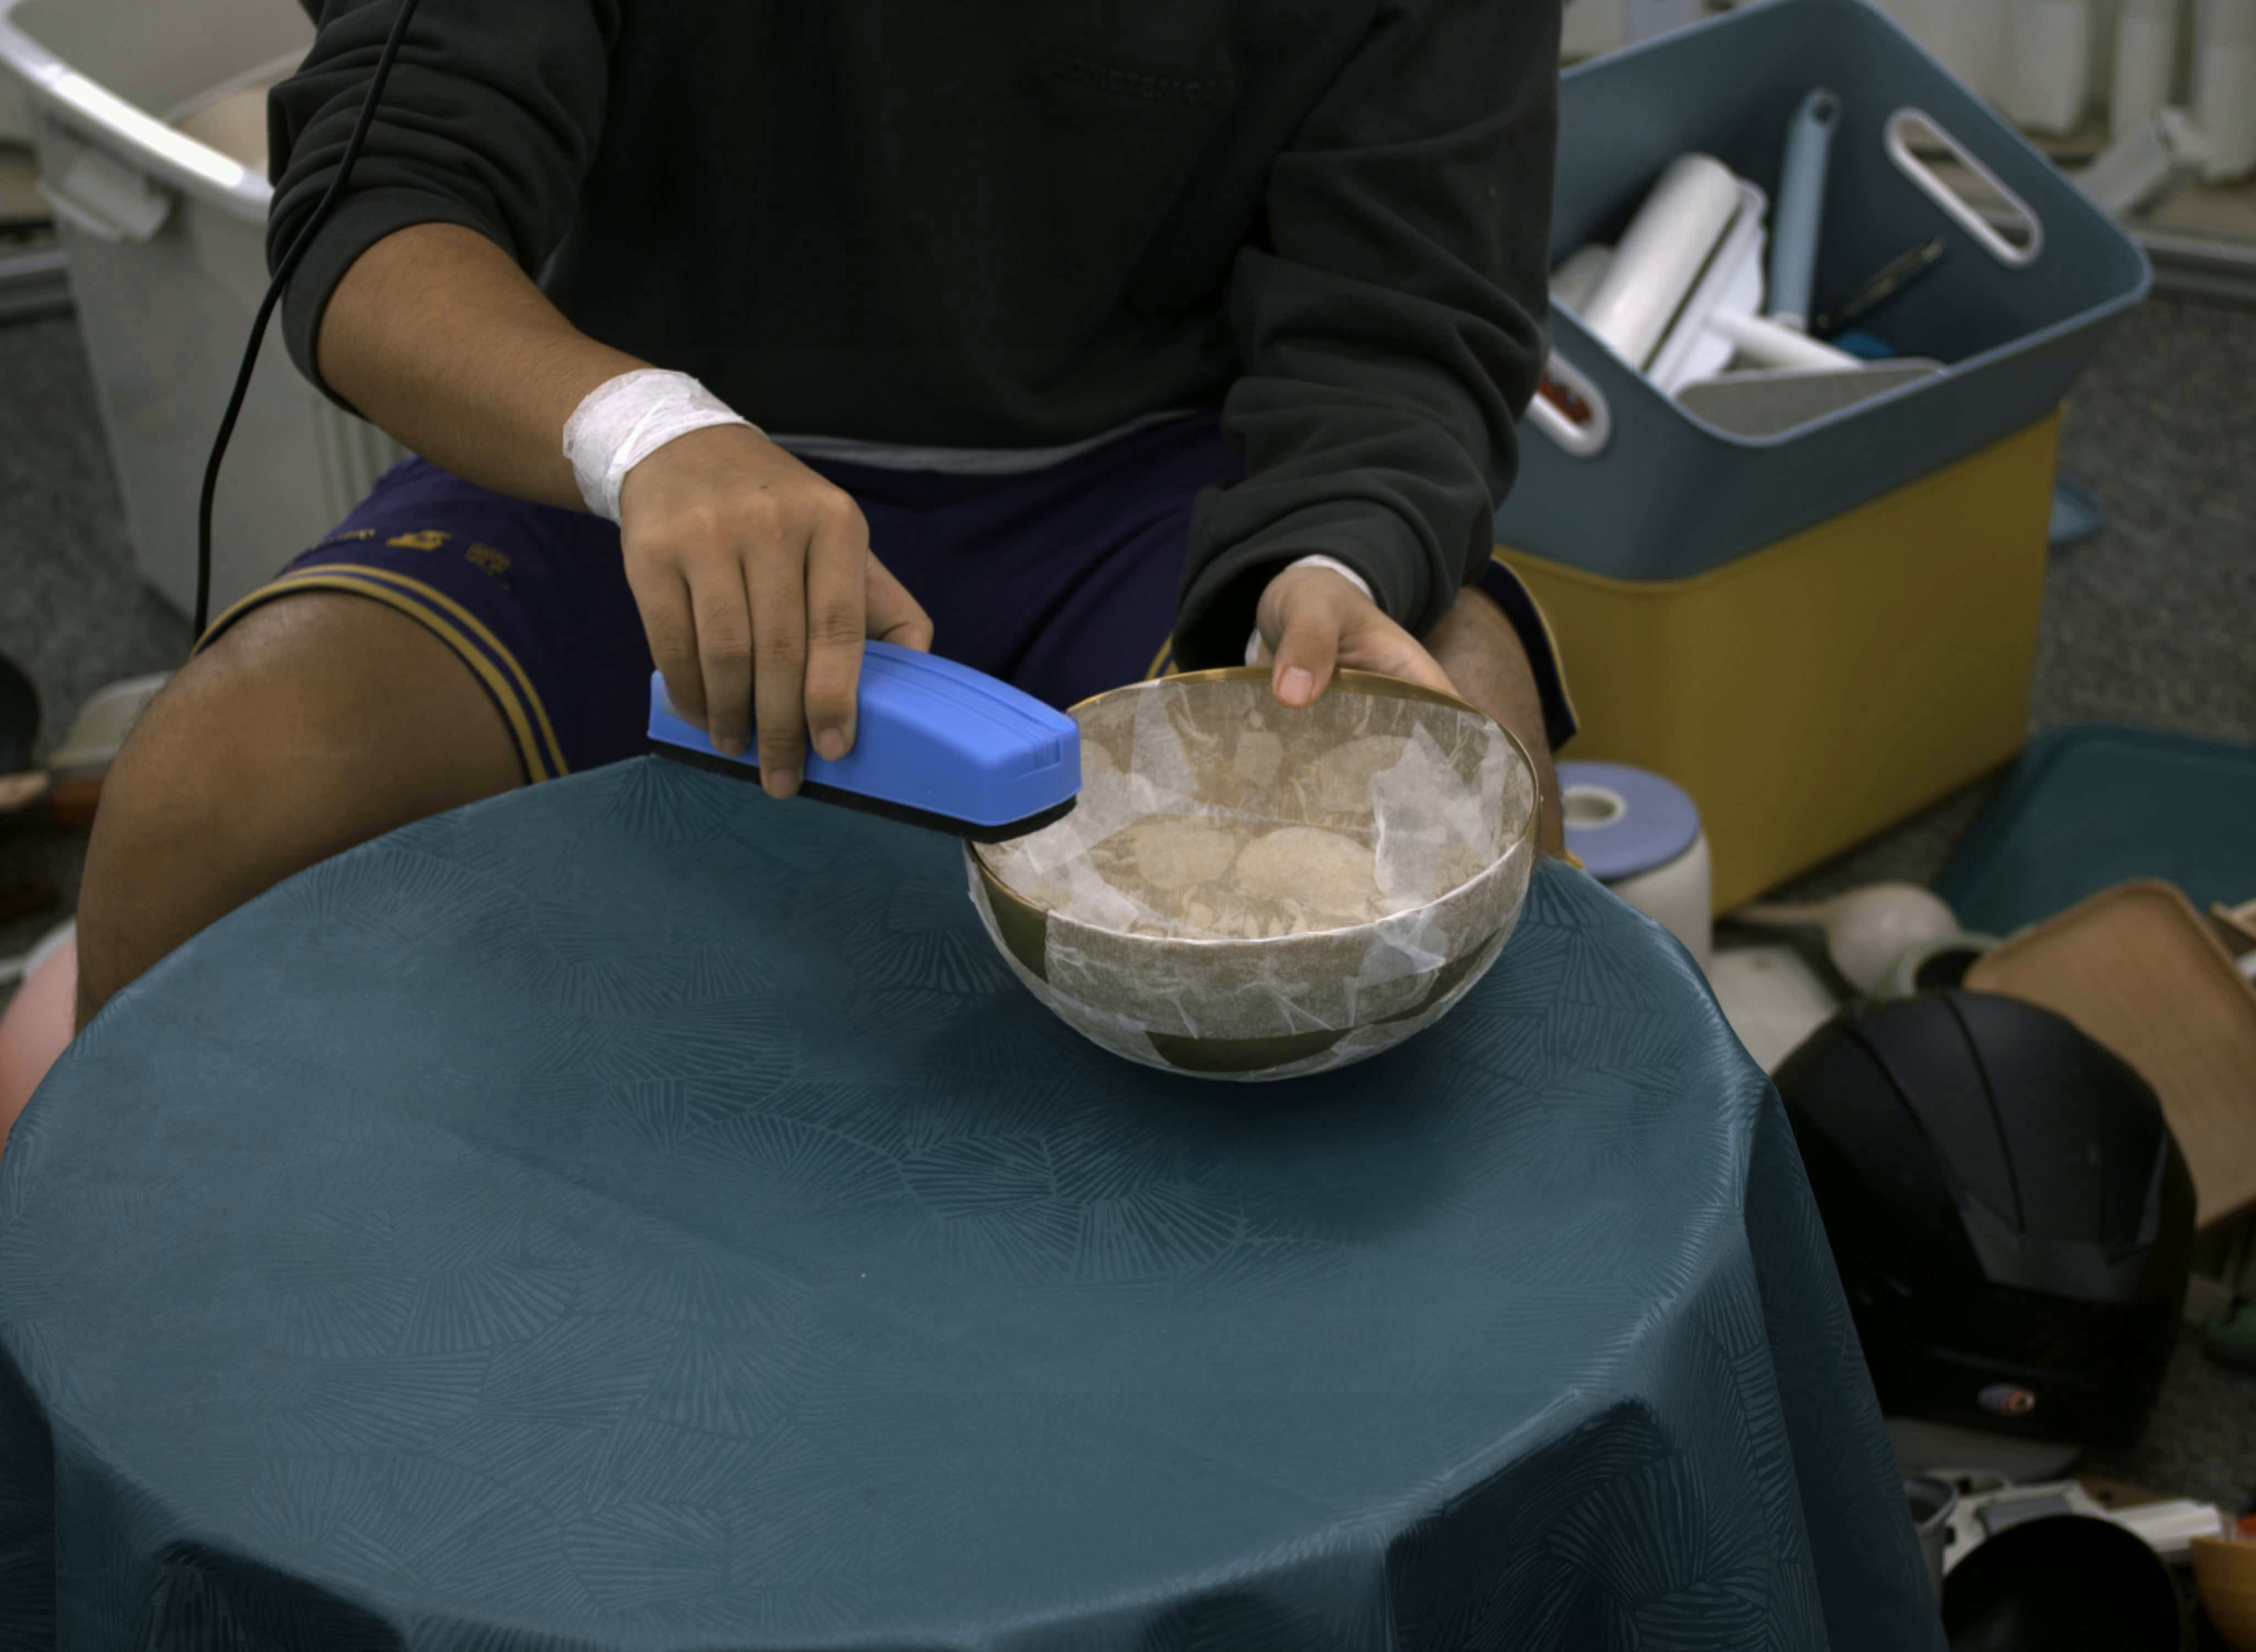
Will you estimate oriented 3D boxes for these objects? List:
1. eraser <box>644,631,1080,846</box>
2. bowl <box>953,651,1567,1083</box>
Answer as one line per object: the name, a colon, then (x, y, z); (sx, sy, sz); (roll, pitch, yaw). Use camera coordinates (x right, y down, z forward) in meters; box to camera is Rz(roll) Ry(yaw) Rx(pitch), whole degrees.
eraser: (-0.093, -0.036, 1.932); (0.161, 0.047, 0.054); (14, 26, 33)
bowl: (0.045, 0.026, 1.941); (0.213, 0.093, 0.218); (-4, 28, 2)
